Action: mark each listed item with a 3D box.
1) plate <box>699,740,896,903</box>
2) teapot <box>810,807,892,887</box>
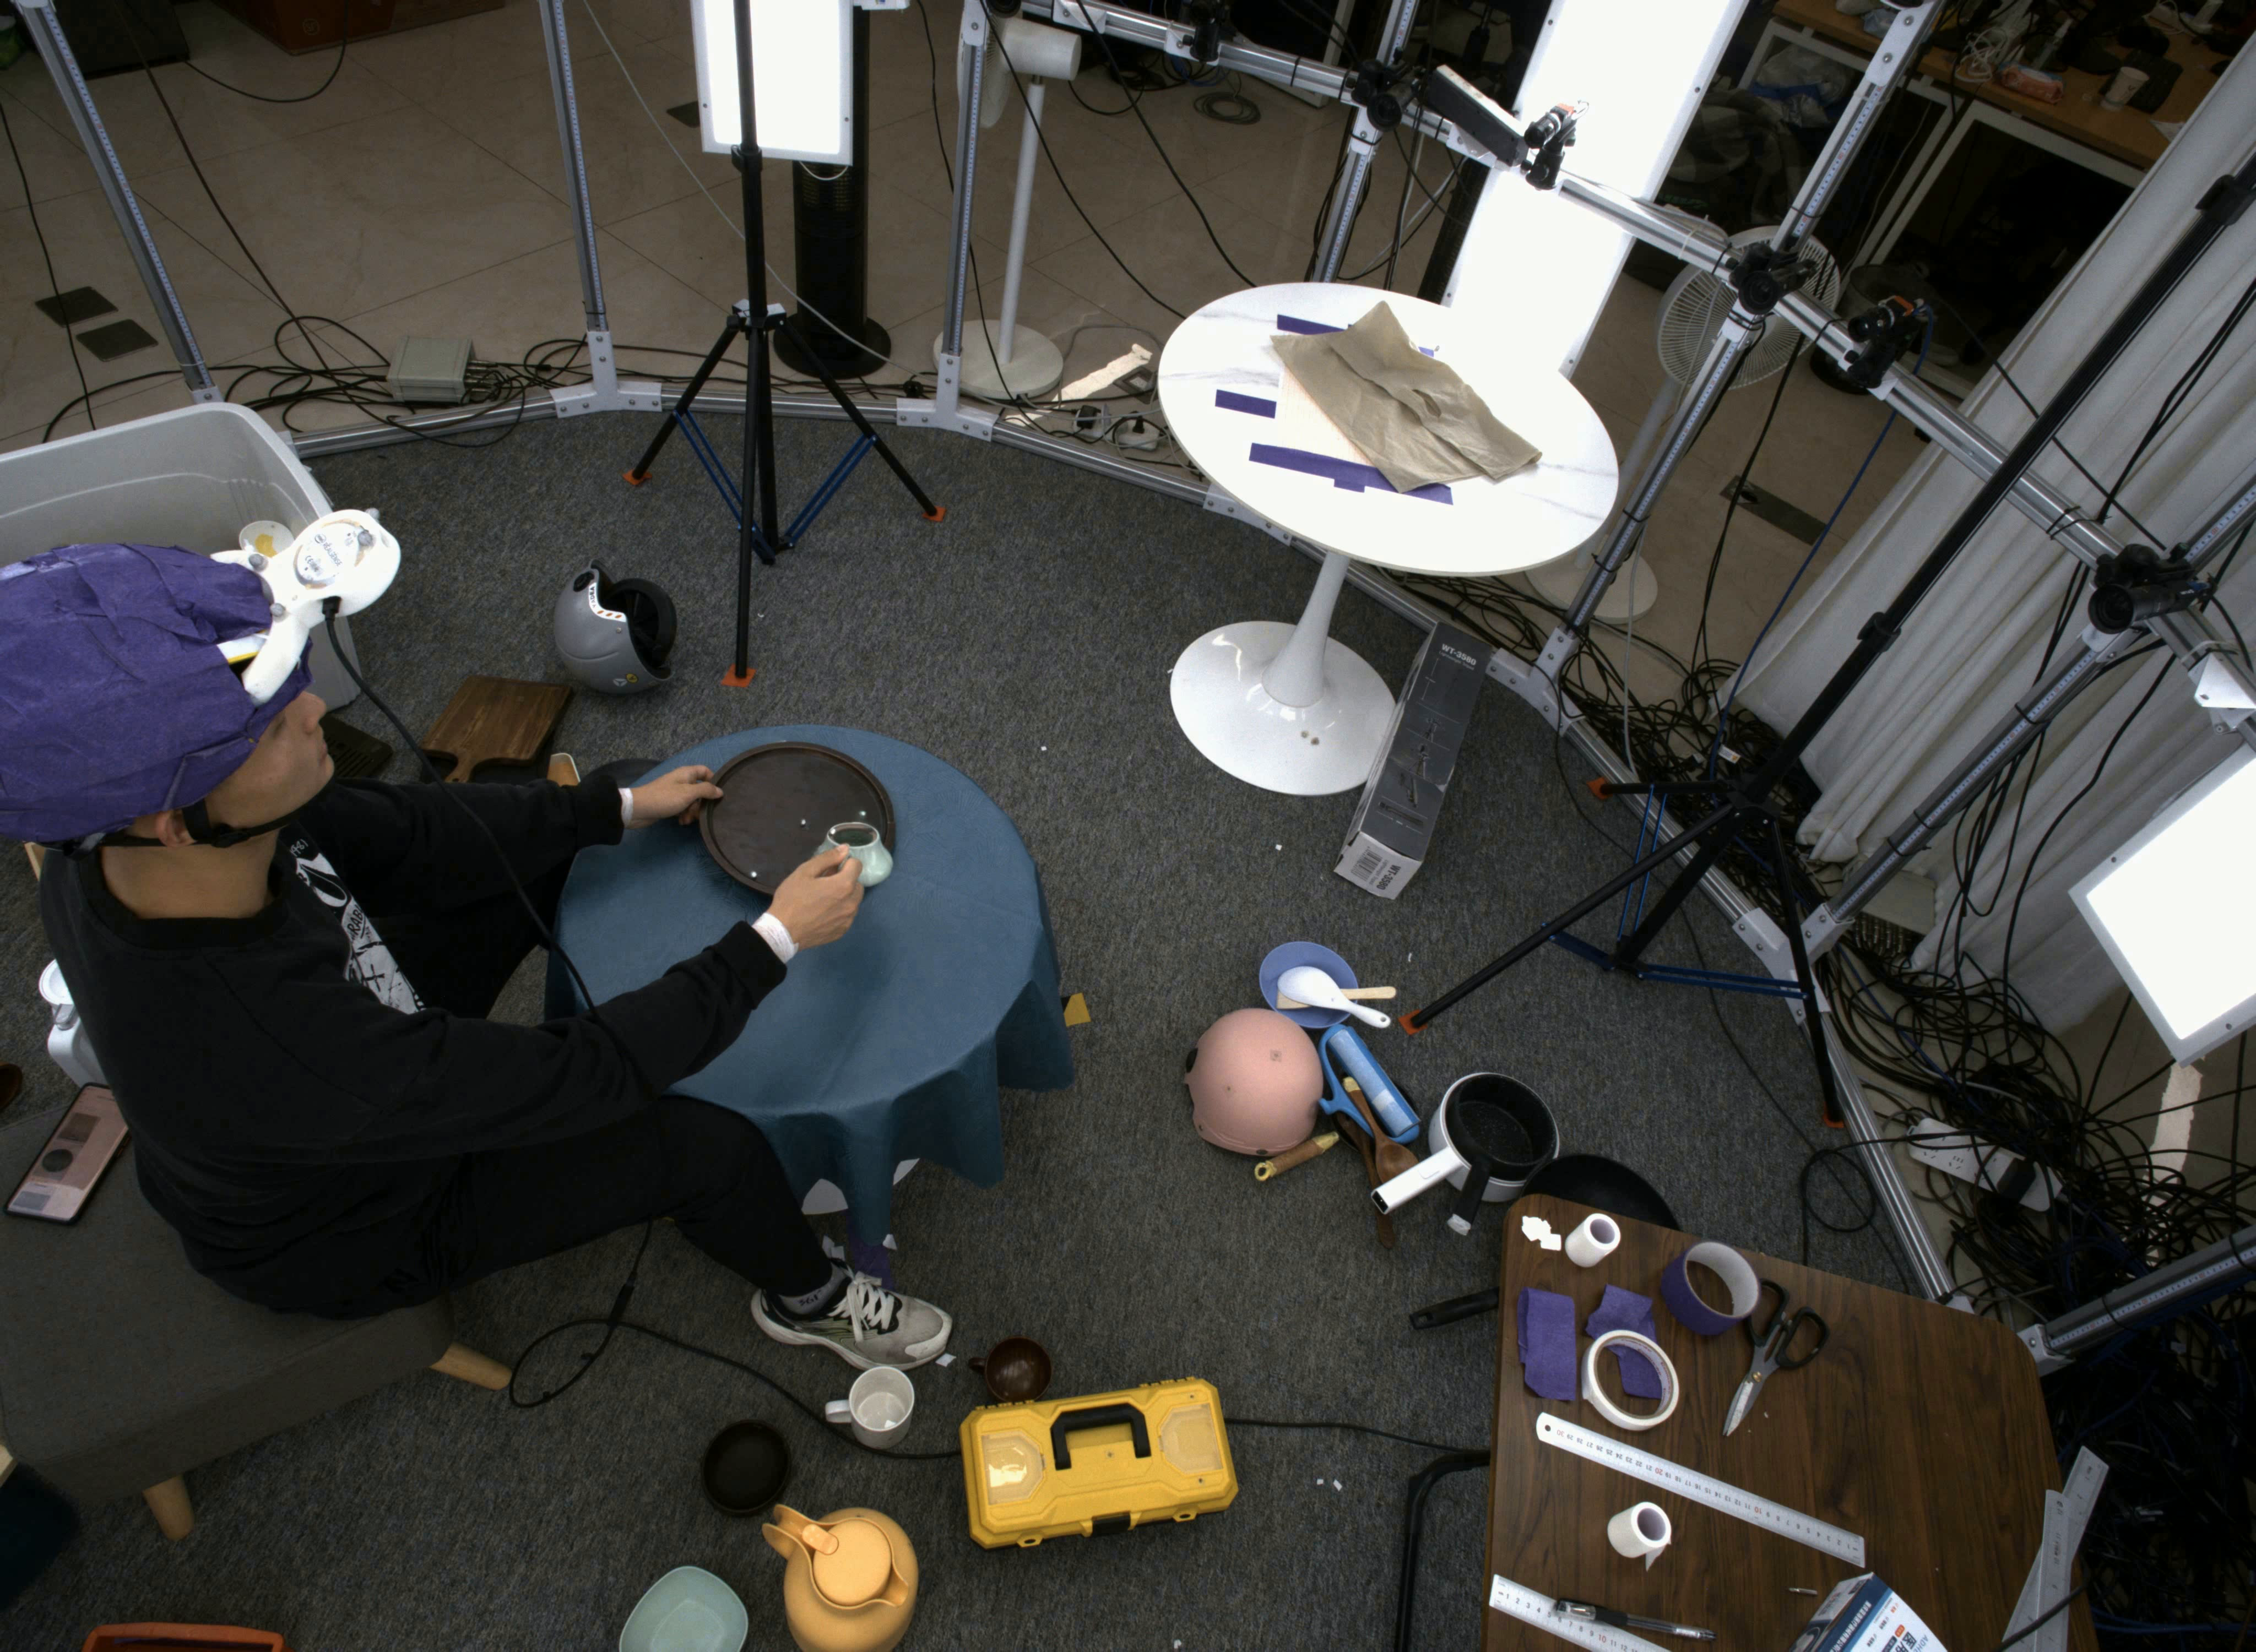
[{"bbox_3d":[-0.430,-0.008,1.693,0.256,0.029,0.250,13,53,-15],"label":"plate"},{"bbox_3d":[-0.329,0.032,1.540,0.096,0.063,0.134,7,27,-7],"label":"teapot"}]
